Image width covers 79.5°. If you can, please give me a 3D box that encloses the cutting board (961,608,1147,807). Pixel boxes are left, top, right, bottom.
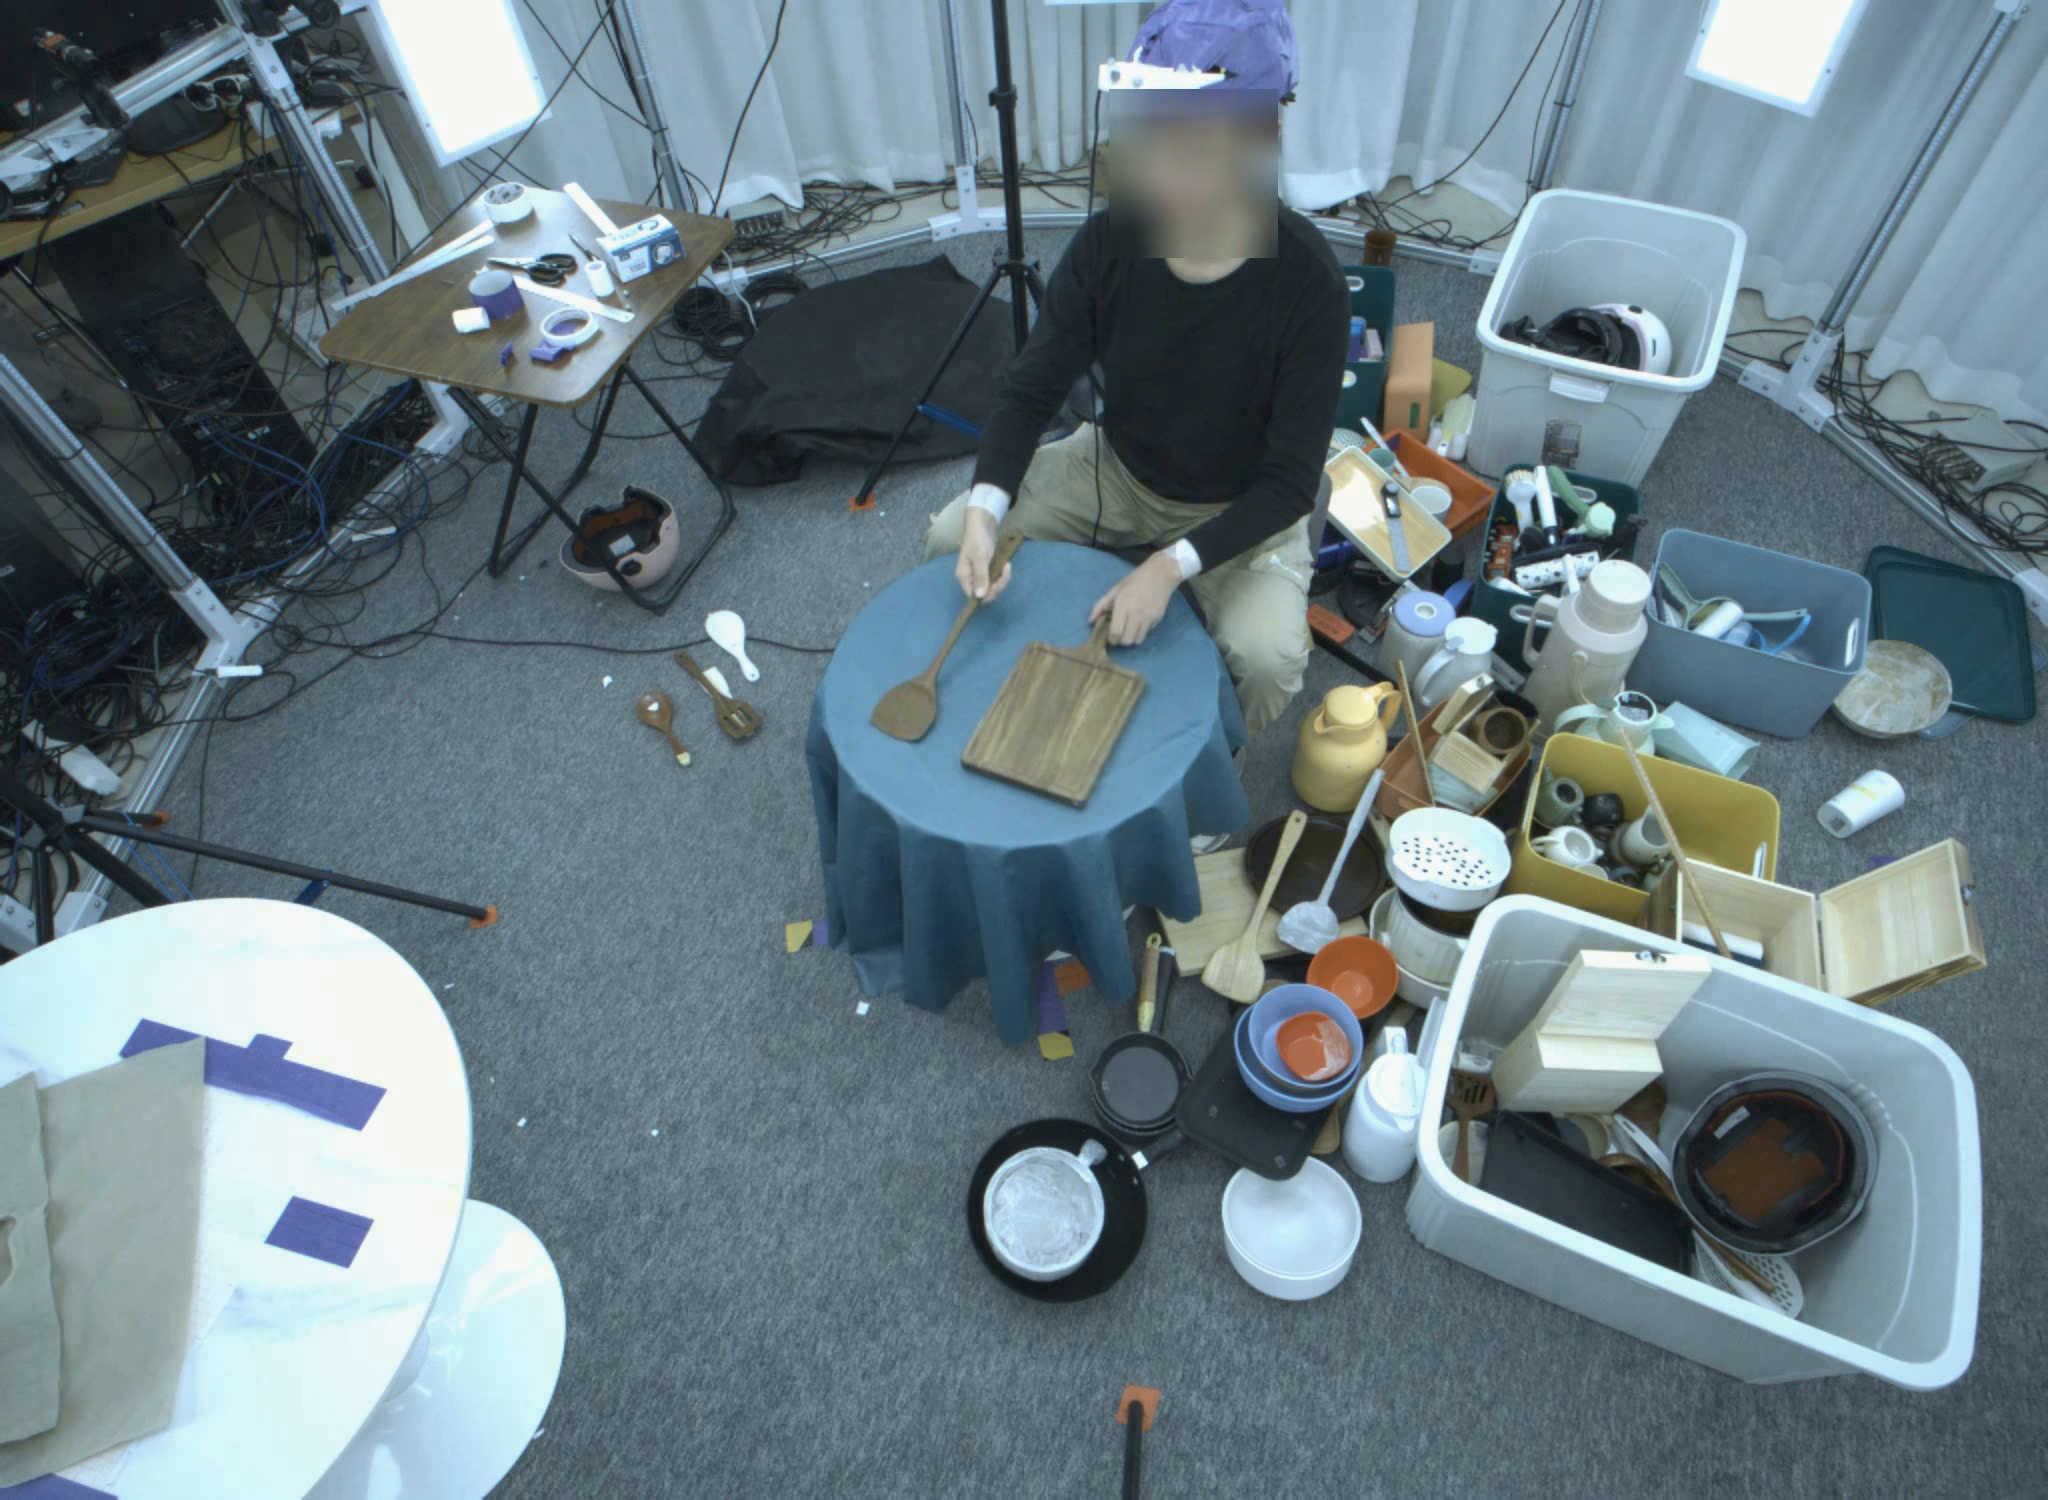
[{"bbox_3d":[0.067,-0.082,1.830,0.199,0.023,0.352,19,58,14],"label":"cutting board"}]

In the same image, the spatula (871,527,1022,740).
[{"bbox_3d":[-0.104,-0.185,1.857,0.095,0.016,0.386,25,76,19],"label":"spatula"}]
